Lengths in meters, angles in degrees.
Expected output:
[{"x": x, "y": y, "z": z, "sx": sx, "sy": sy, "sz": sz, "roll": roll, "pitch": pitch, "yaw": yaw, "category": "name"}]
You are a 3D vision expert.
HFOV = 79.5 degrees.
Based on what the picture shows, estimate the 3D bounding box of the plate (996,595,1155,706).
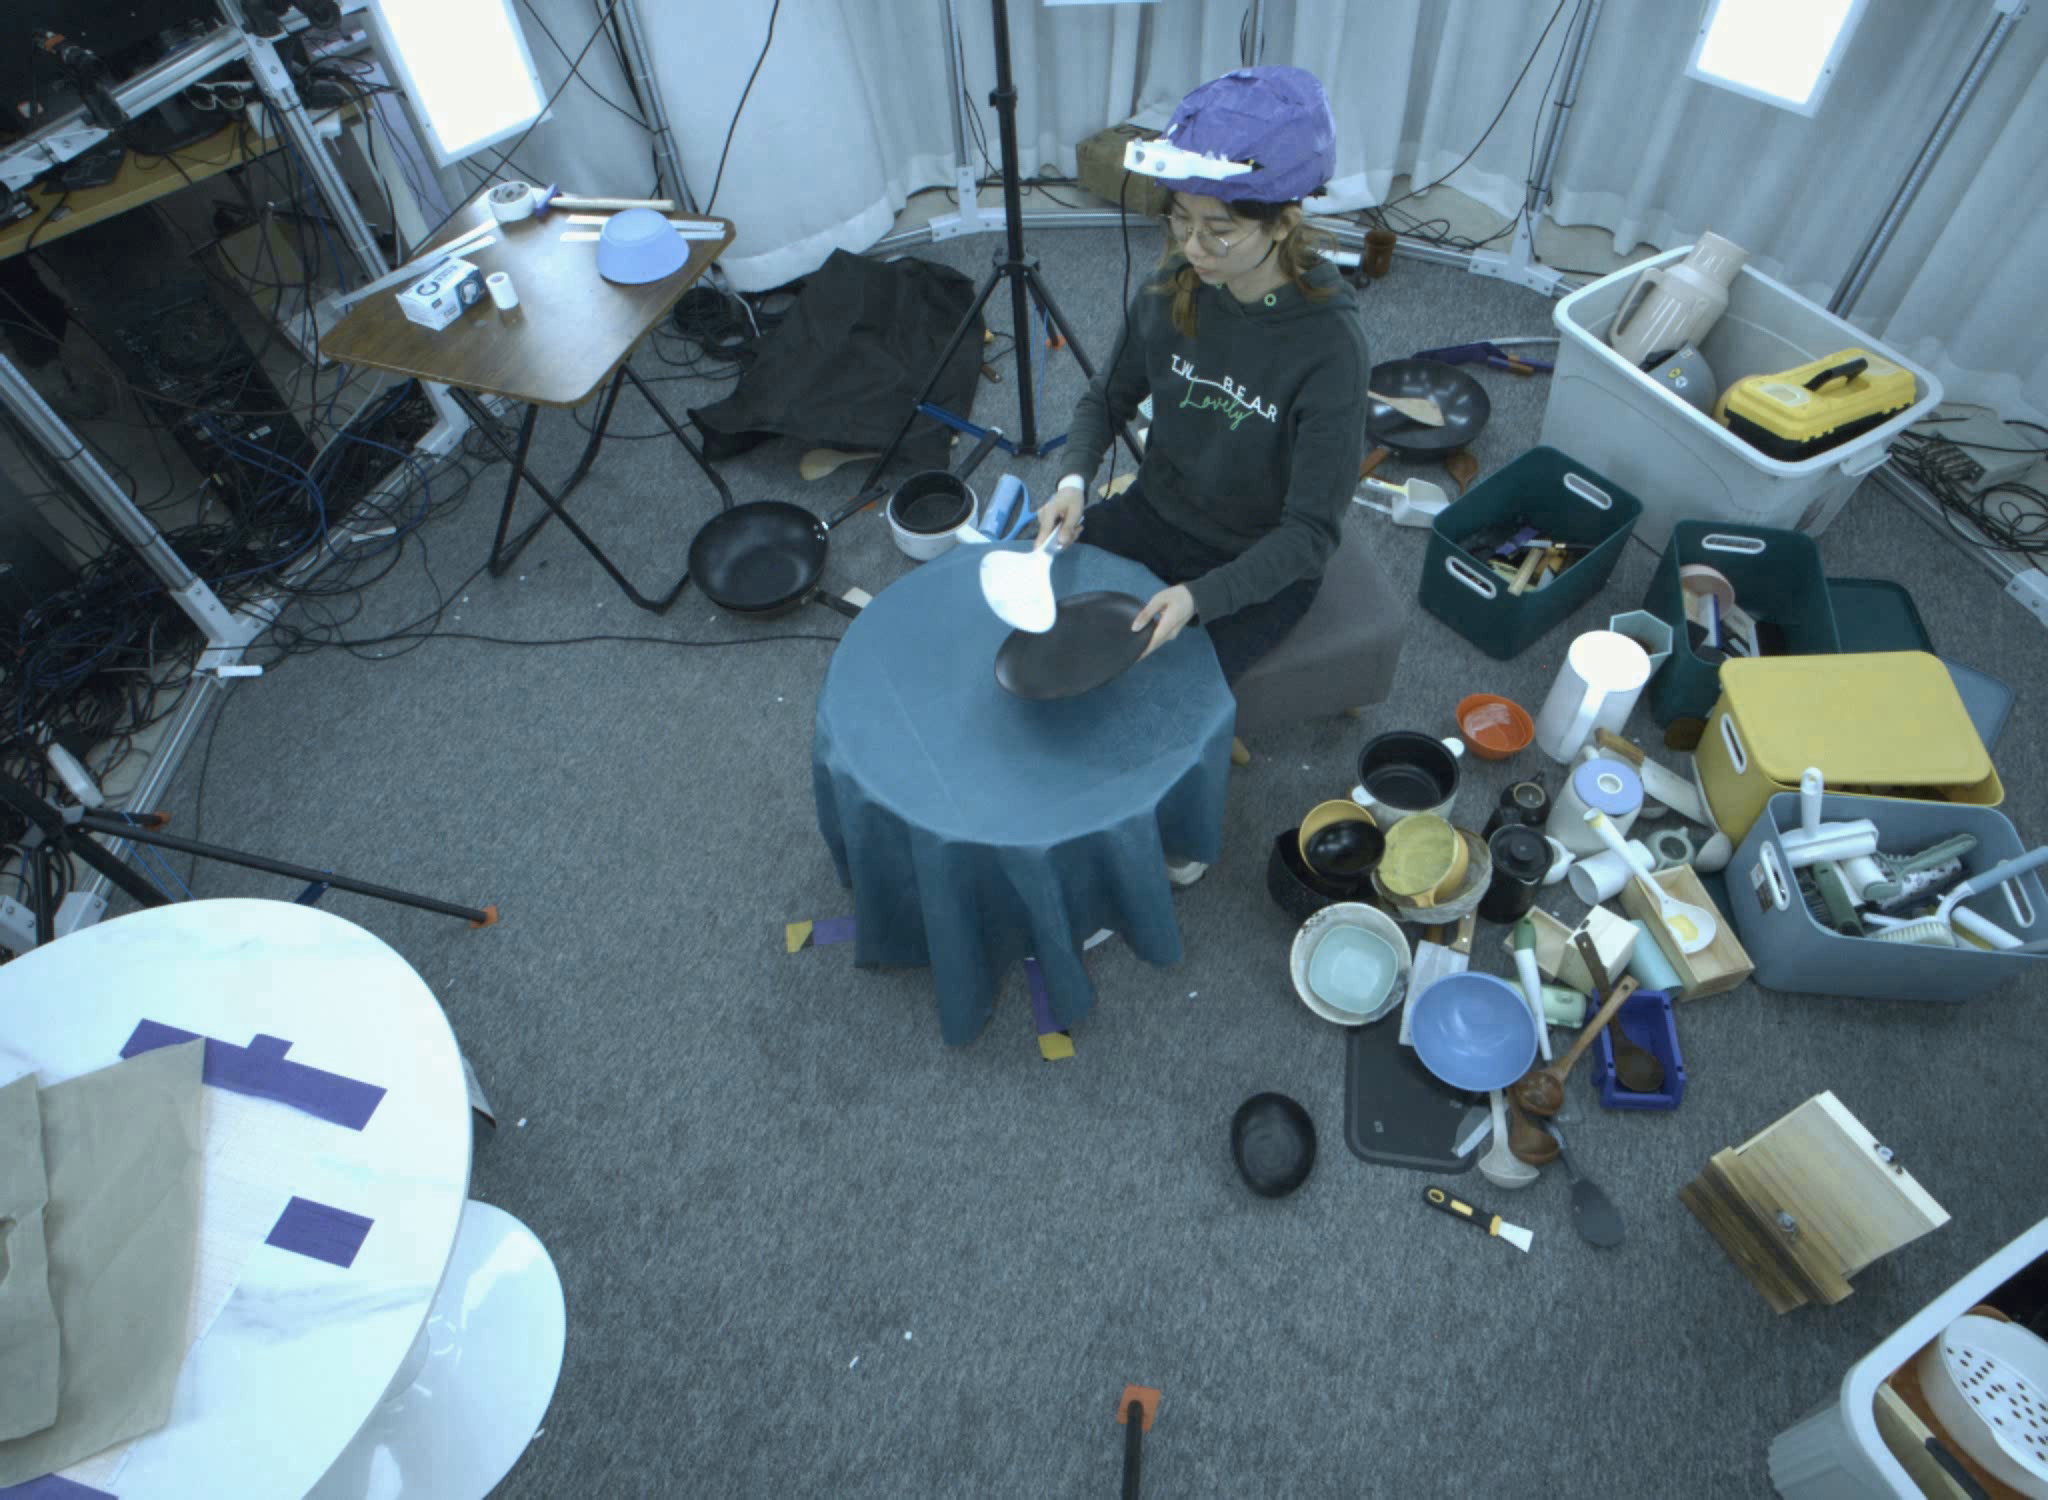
[{"x": 0.075, "y": -0.142, "z": 1.784, "sx": 0.242, "sy": 0.024, "sz": 0.242, "roll": -14, "pitch": 40, "yaw": 14, "category": "plate"}]

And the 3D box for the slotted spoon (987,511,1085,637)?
[{"x": 0.030, "y": -0.280, "z": 1.854, "sx": 0.137, "sy": 0.045, "sz": 0.350, "roll": 47, "pitch": 43, "yaw": -15, "category": "slotted spoon"}]
